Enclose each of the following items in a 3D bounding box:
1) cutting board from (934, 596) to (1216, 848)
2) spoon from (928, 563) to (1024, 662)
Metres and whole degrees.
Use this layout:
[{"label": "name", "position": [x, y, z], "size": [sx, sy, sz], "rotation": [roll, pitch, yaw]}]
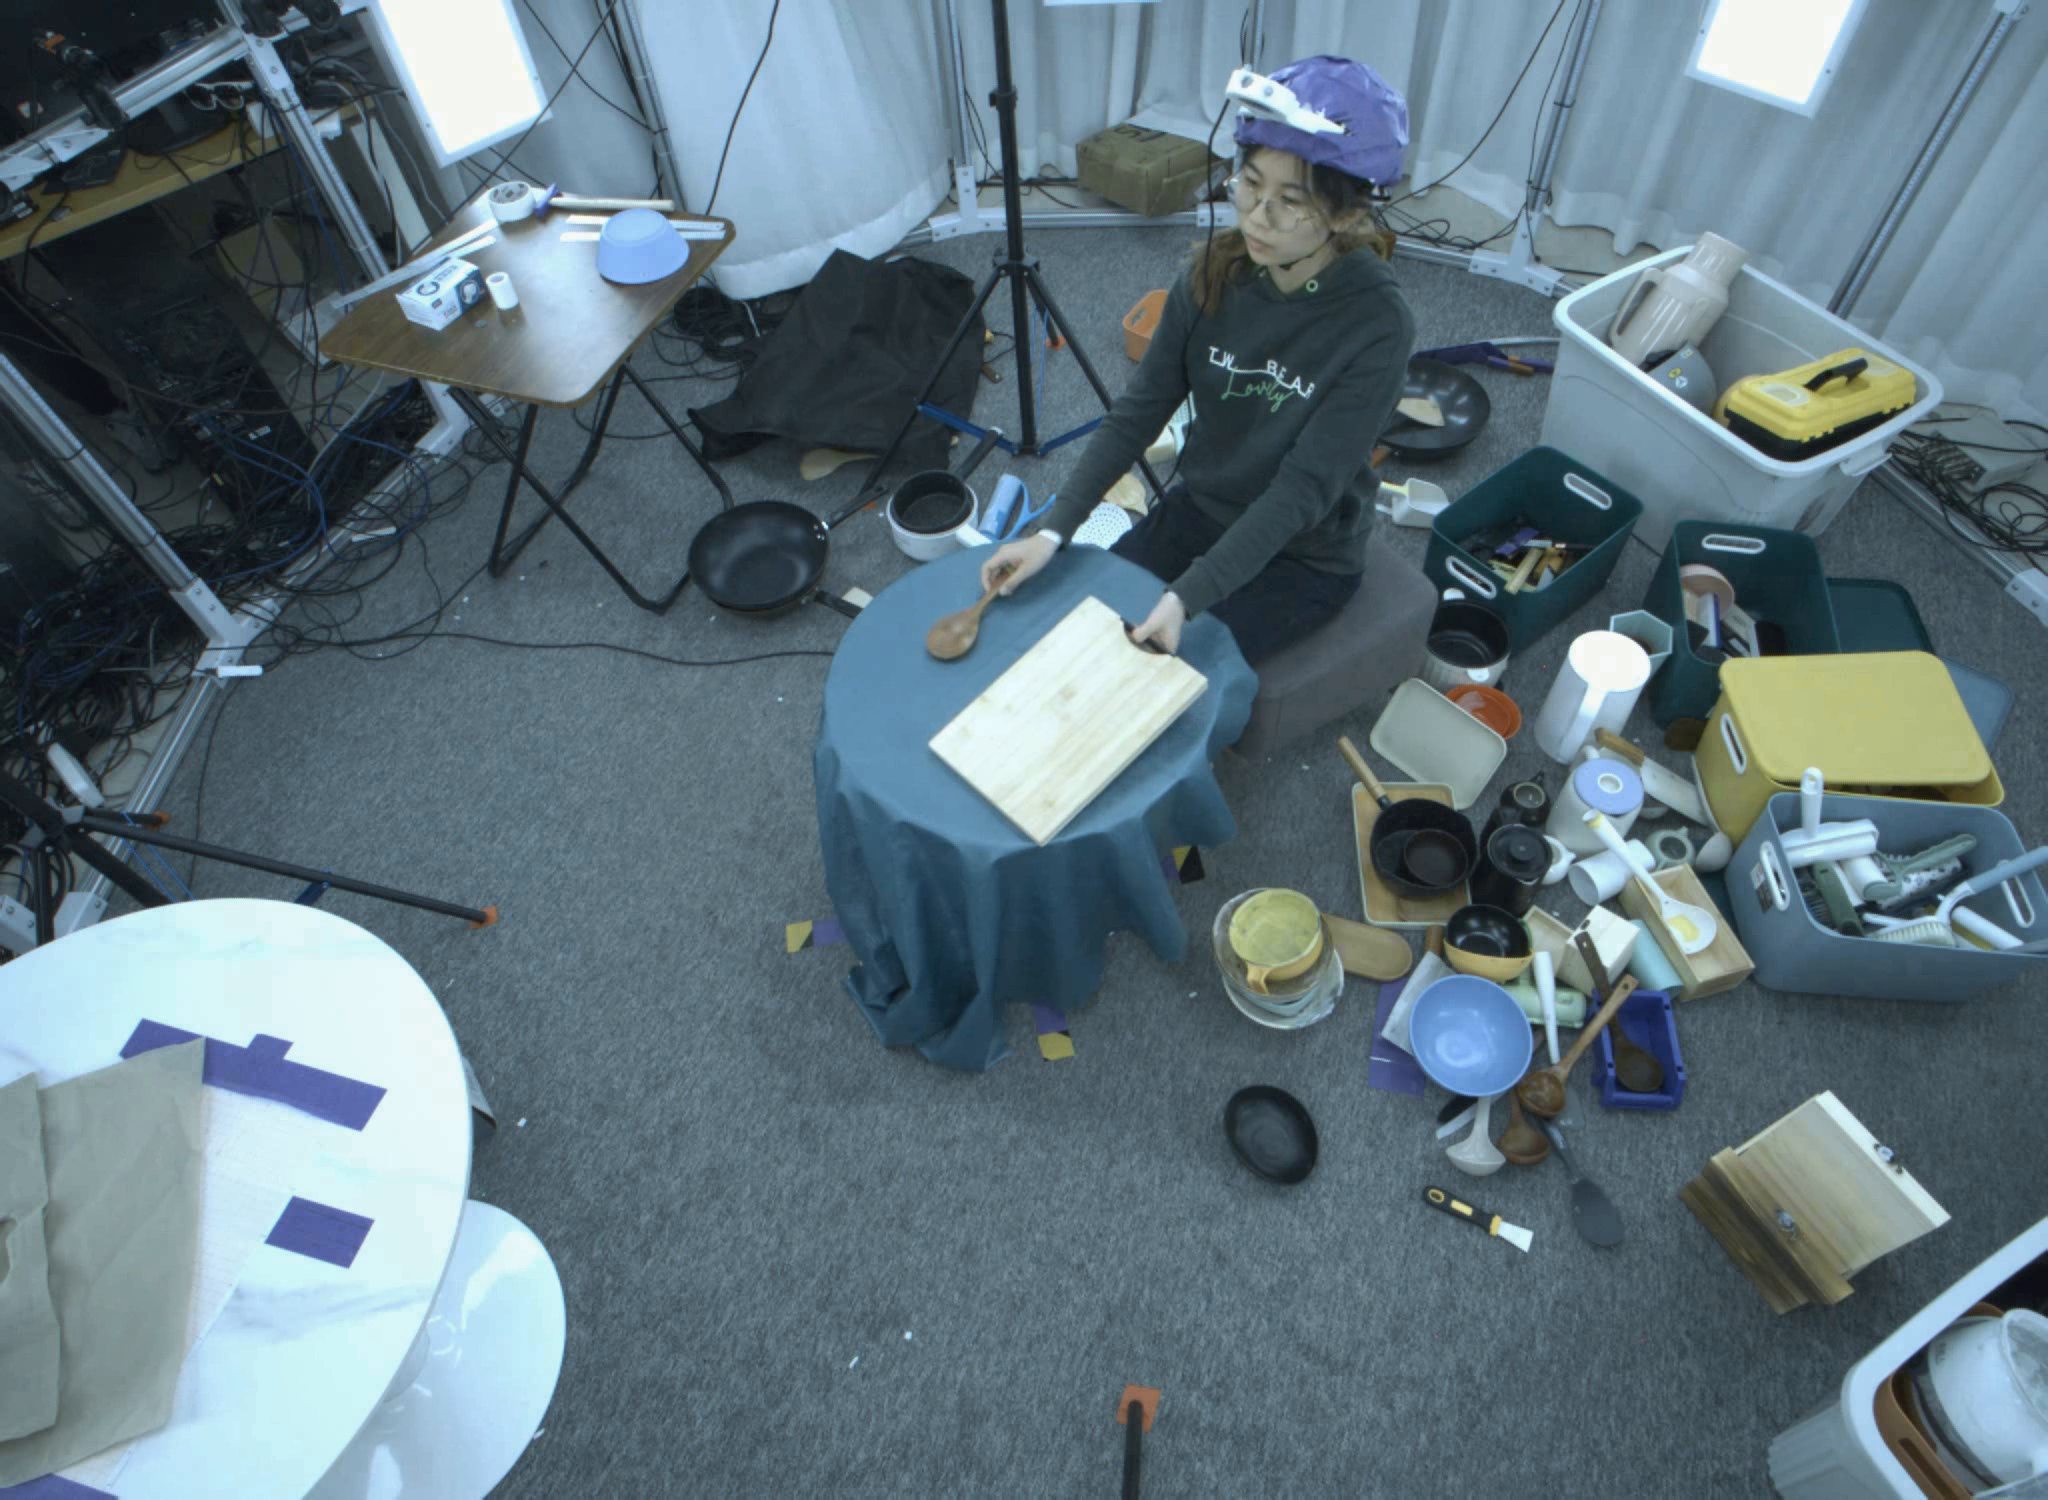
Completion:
[{"label": "cutting board", "position": [0.071, -0.049, 1.785], "size": [0.246, 0.024, 0.350], "rotation": [39, 74, 24]}, {"label": "spoon", "position": [-0.070, -0.216, 1.930], "size": [0.074, 0.017, 0.216], "rotation": [30, 68, 23]}]
